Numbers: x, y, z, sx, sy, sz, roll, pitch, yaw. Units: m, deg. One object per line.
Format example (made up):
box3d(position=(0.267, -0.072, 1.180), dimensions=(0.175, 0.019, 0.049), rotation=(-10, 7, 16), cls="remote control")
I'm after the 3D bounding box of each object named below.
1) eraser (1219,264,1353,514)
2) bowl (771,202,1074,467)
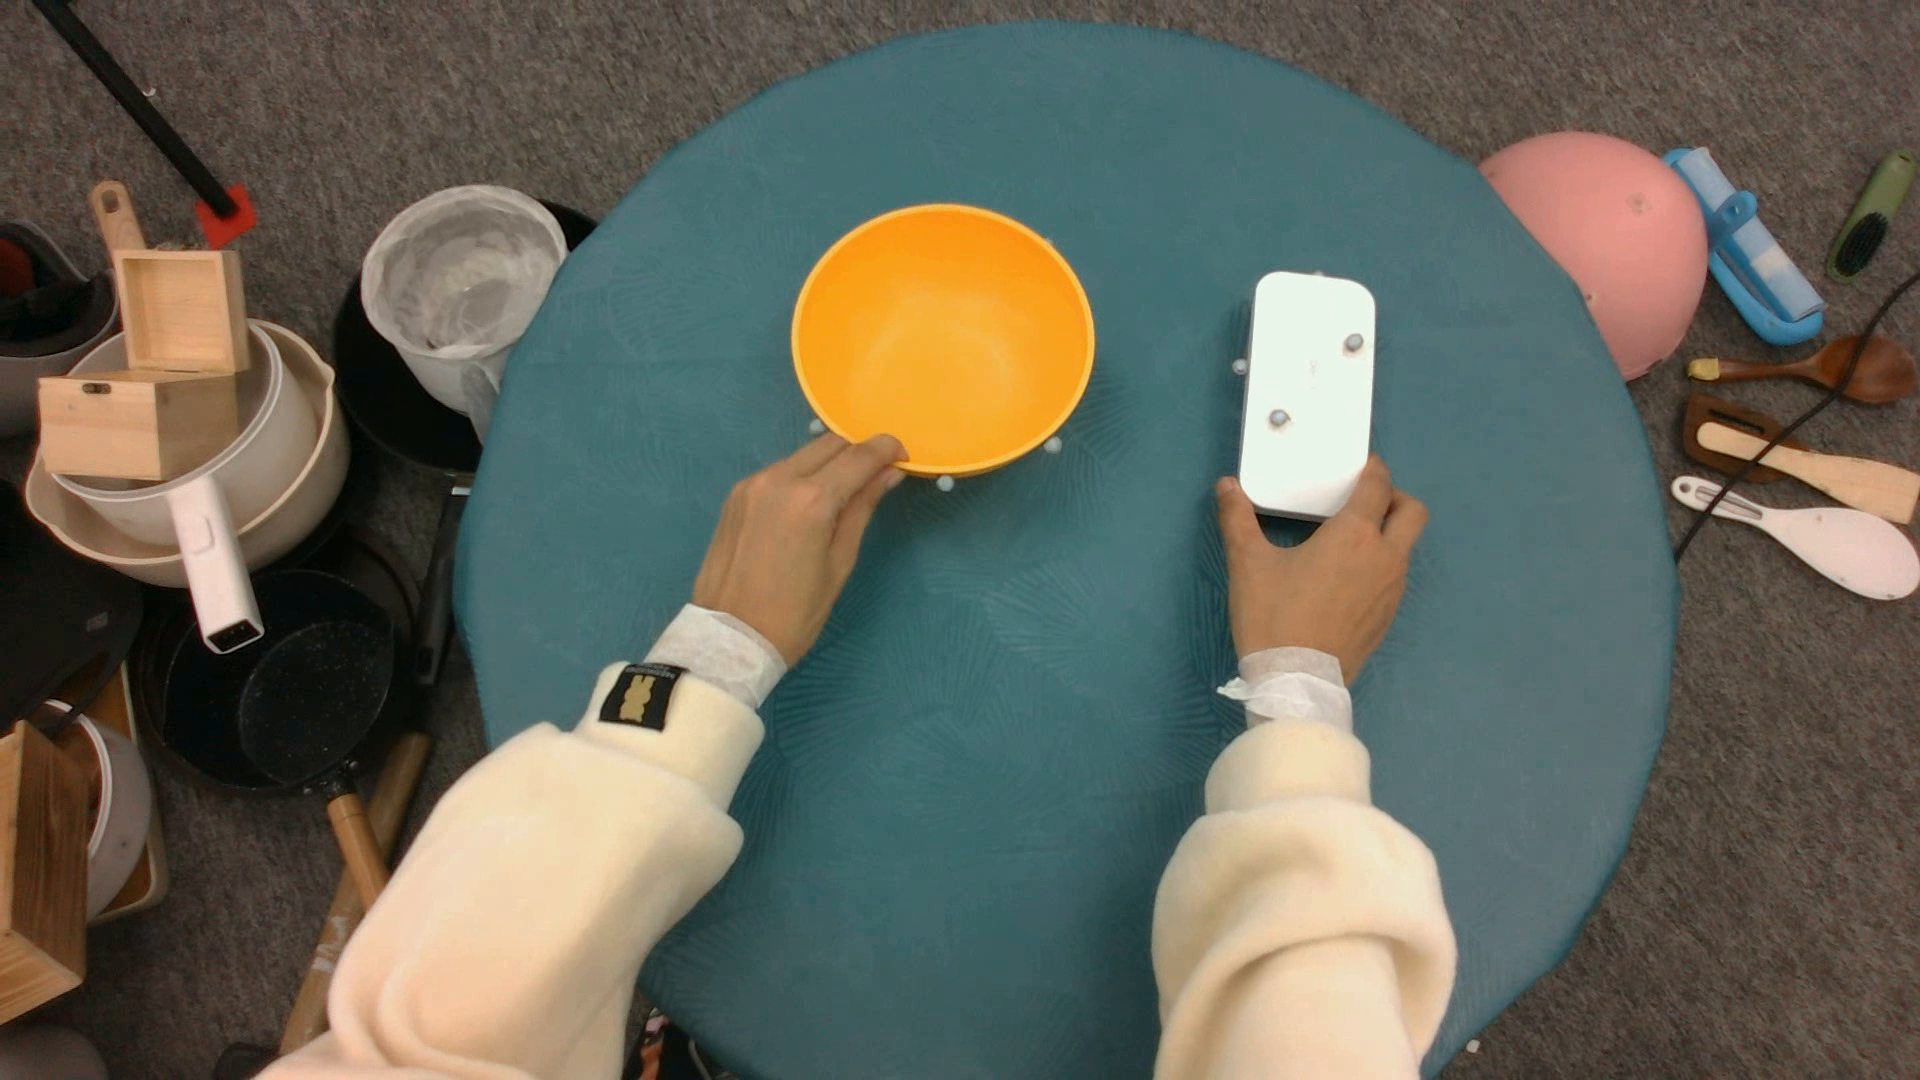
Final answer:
box3d(position=(0.164, -0.078, 0.698), dimensions=(0.063, 0.034, 0.131), rotation=(8, 70, 0), cls="eraser")
box3d(position=(-0.019, -0.091, 0.680), dimensions=(0.145, 0.060, 0.146), rotation=(1, 65, -2), cls="bowl")
